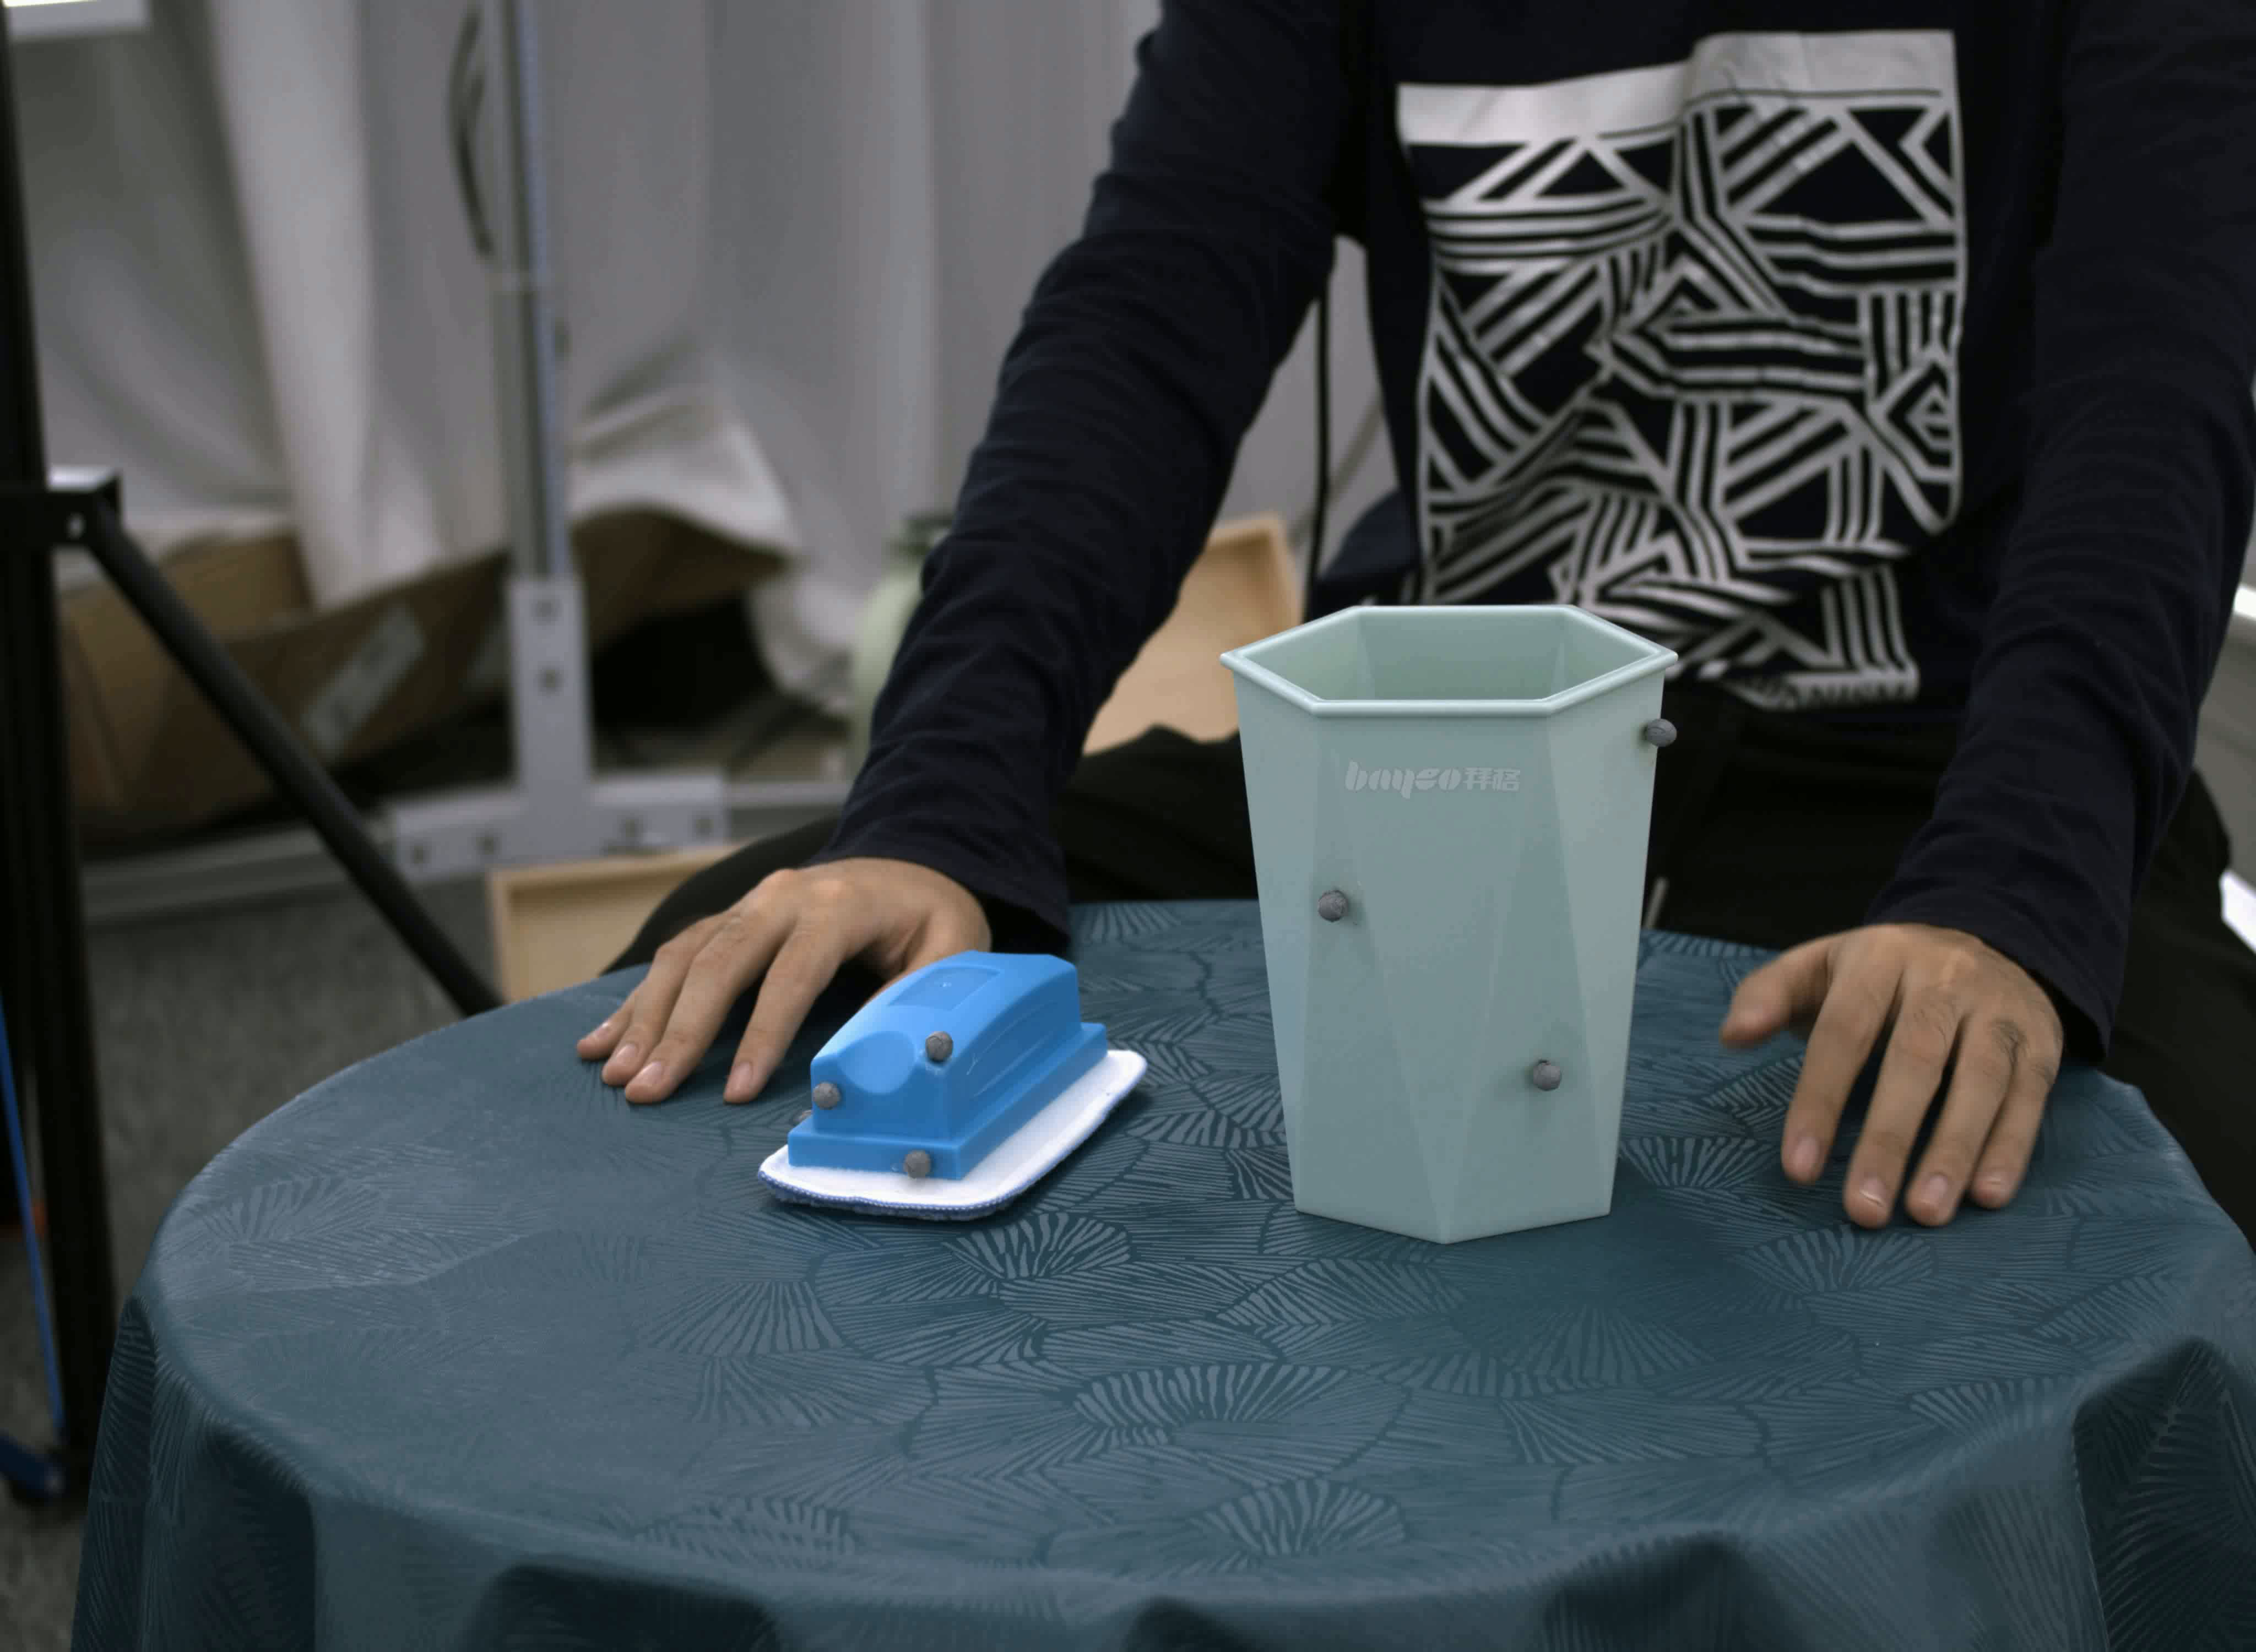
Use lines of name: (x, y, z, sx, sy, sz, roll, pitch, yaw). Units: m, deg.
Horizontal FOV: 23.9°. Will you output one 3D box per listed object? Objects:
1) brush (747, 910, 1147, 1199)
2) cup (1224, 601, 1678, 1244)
brush: (-0.053, 0.065, 1.608, 0.085, 0.056, 0.142, 8, 21, 22)
cup: (0.095, 0.028, 1.534, 0.131, 0.163, 0.115, 0, 14, 8)
